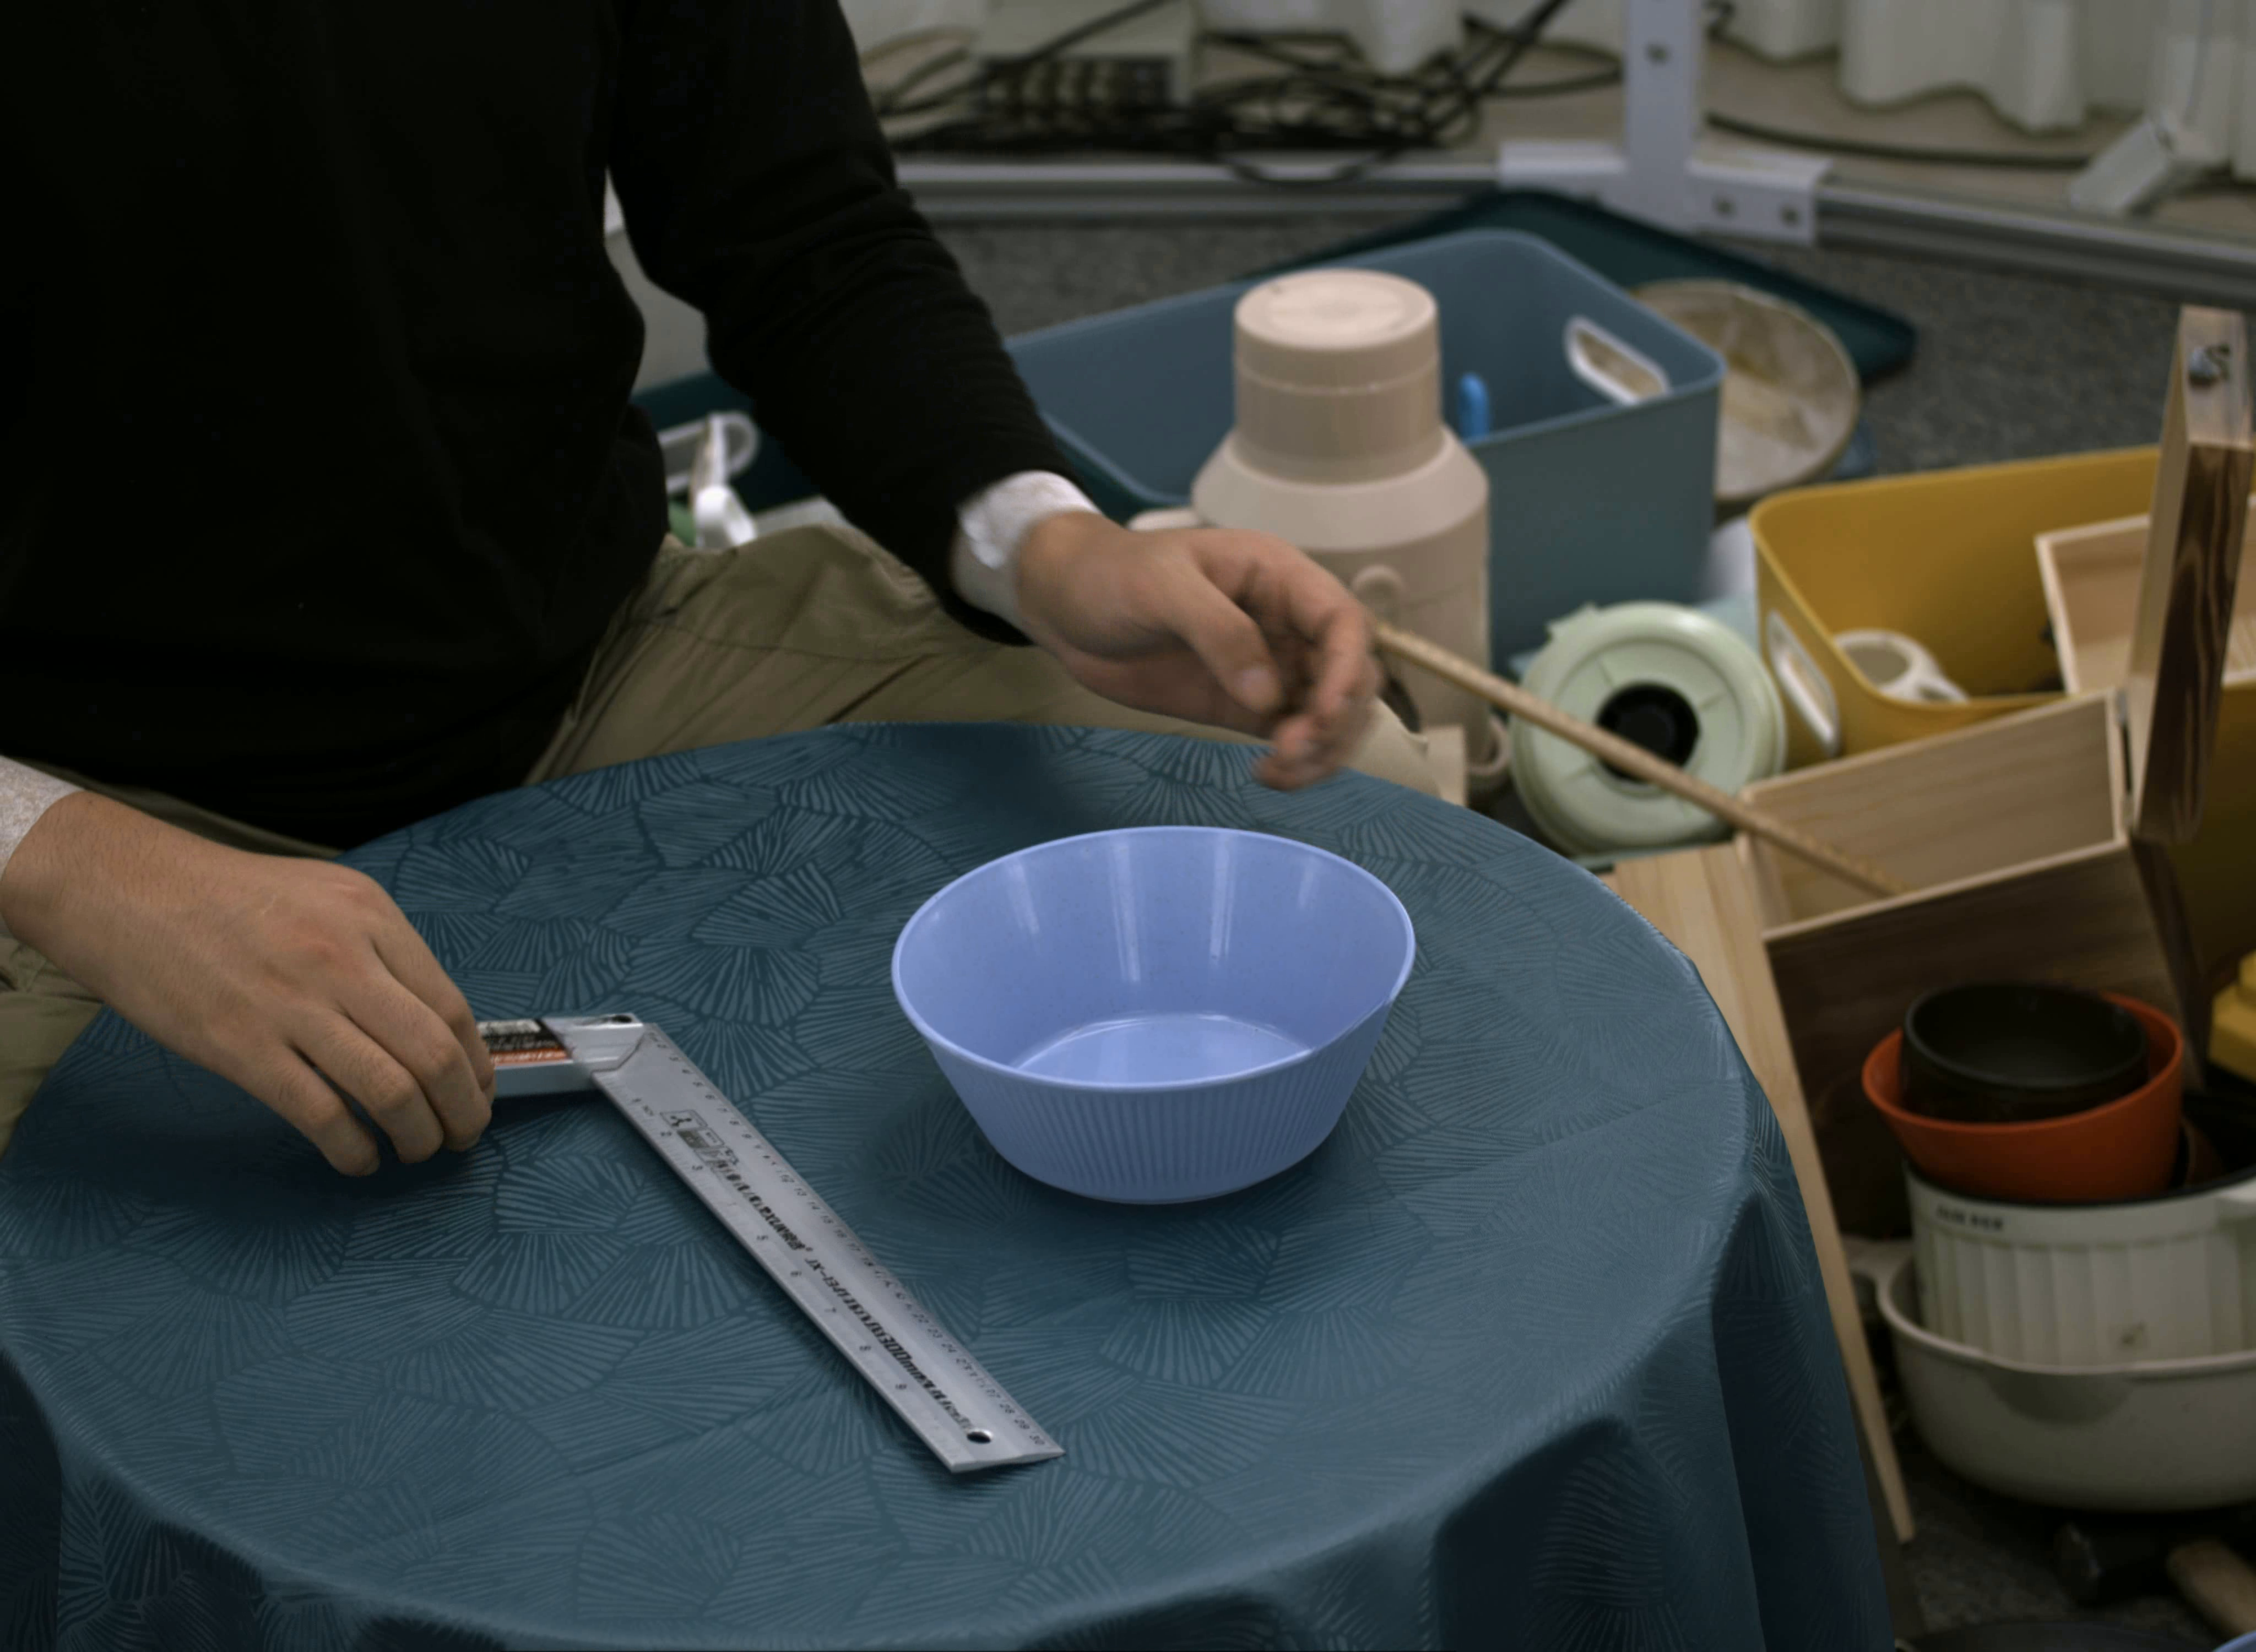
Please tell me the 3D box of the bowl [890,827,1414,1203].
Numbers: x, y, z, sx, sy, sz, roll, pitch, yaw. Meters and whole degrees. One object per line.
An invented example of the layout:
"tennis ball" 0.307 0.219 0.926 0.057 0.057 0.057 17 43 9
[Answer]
"bowl" 0.009 0.069 1.887 0.175 0.069 0.179 -2 28 2

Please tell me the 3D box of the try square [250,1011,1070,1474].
"try square" -0.158 0.139 1.812 0.153 0.016 0.314 -7 27 -28
